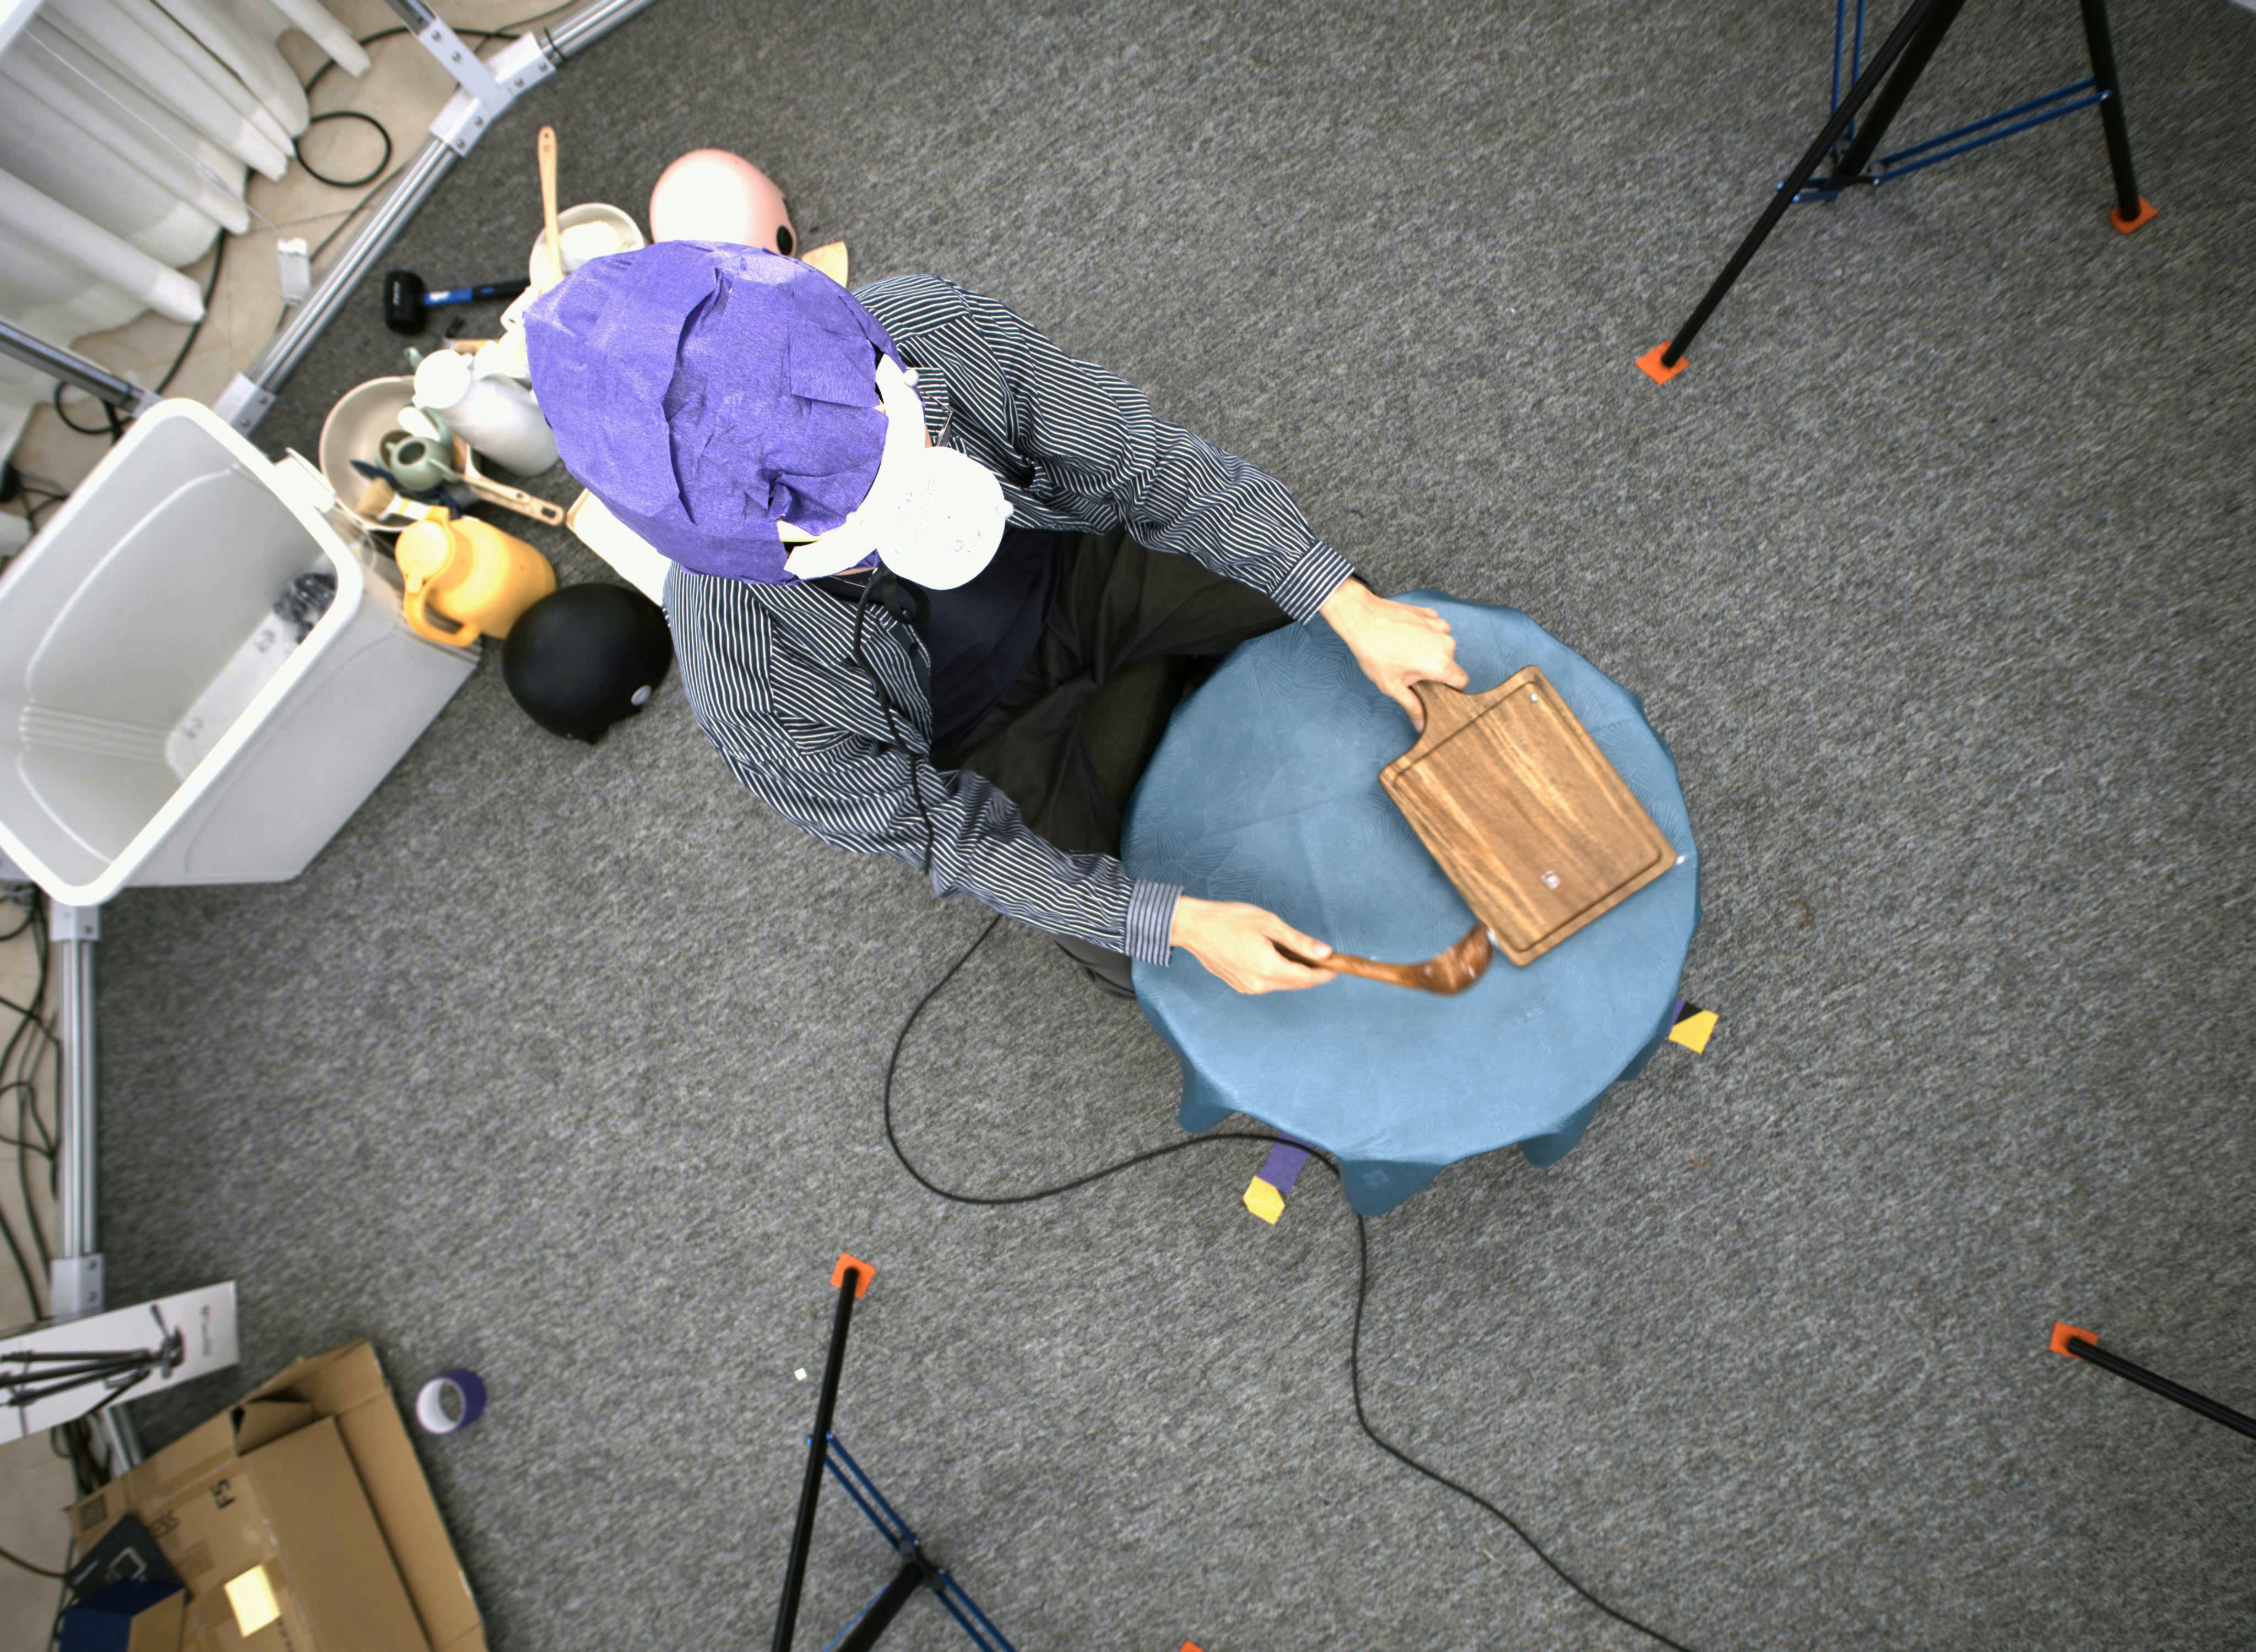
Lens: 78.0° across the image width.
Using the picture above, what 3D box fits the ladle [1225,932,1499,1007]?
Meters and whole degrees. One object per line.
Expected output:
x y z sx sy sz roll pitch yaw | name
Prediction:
0.217 0.117 1.324 0.275 0.080 0.078 10 123 26 | ladle

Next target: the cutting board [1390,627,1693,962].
0.388 -0.058 1.386 0.203 0.023 0.352 -36 91 13 | cutting board
